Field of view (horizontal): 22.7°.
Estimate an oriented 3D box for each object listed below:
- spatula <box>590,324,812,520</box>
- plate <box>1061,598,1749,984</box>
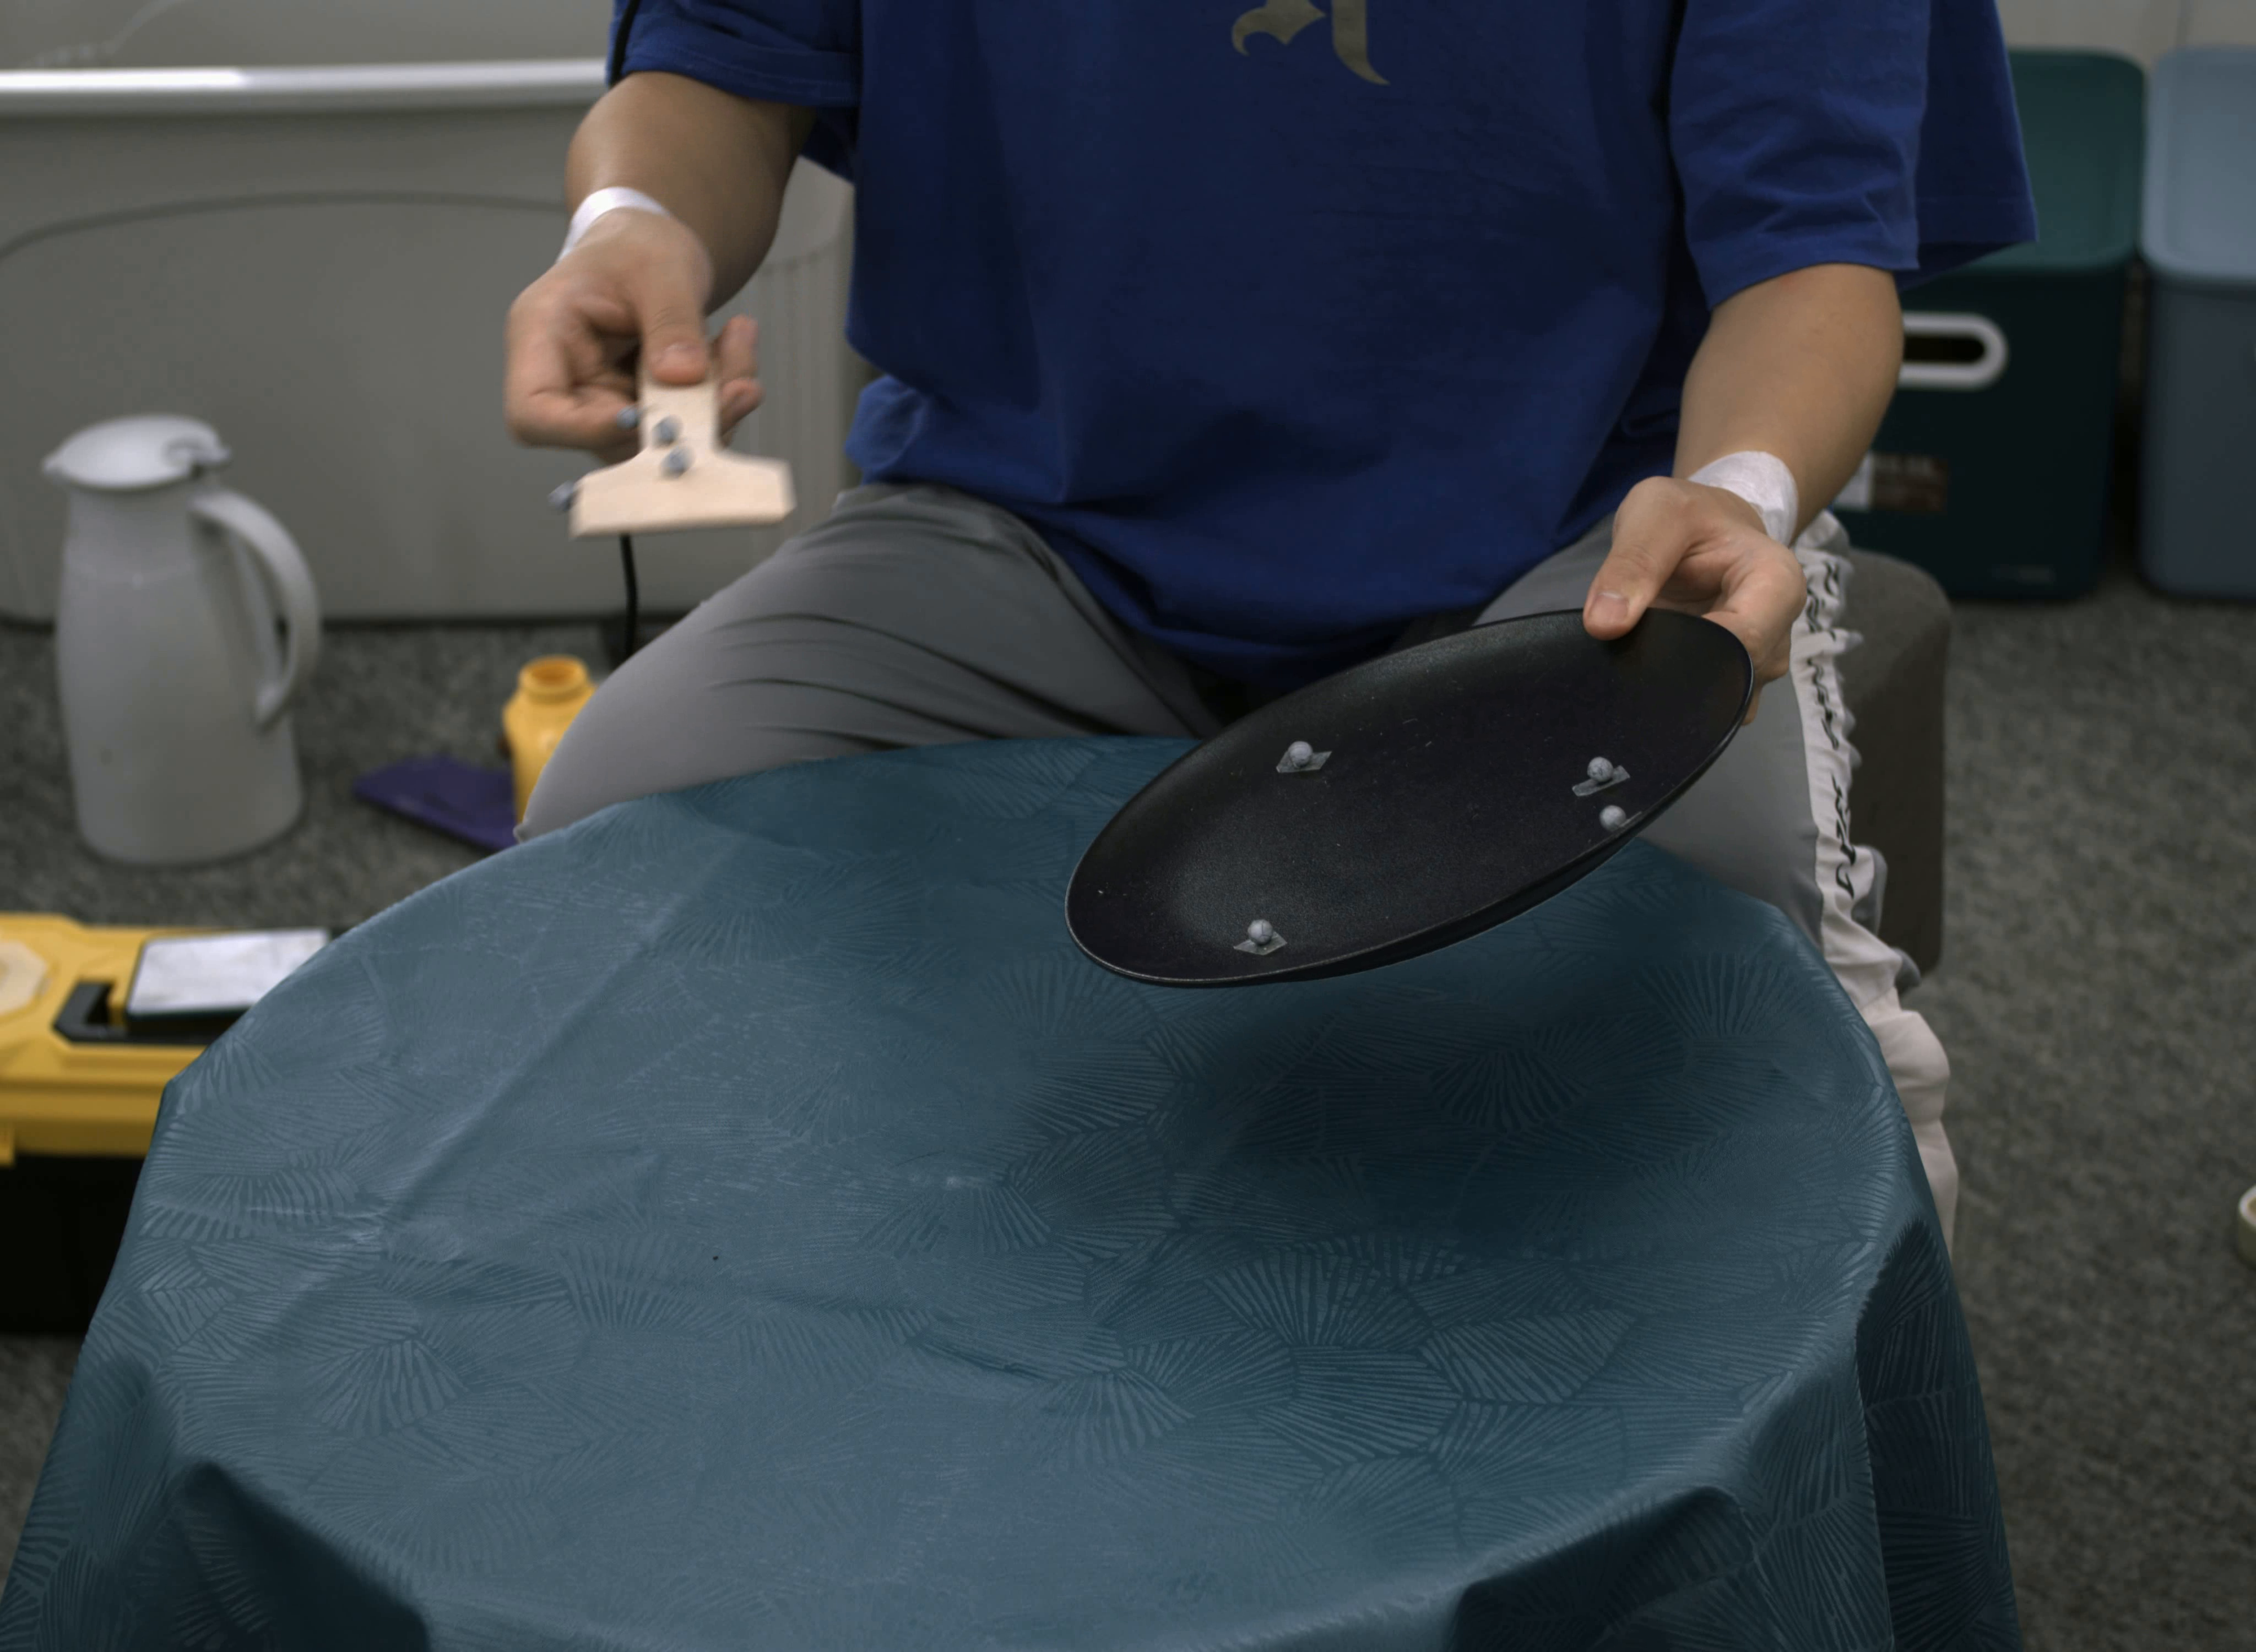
[{"bbox_3d":[-0.149,-0.140,1.940,0.072,0.010,0.295,-5,17,-4],"label":"spatula"},{"bbox_3d":[0.094,-0.007,1.865,0.243,0.023,0.247,-20,21,8],"label":"plate"}]
